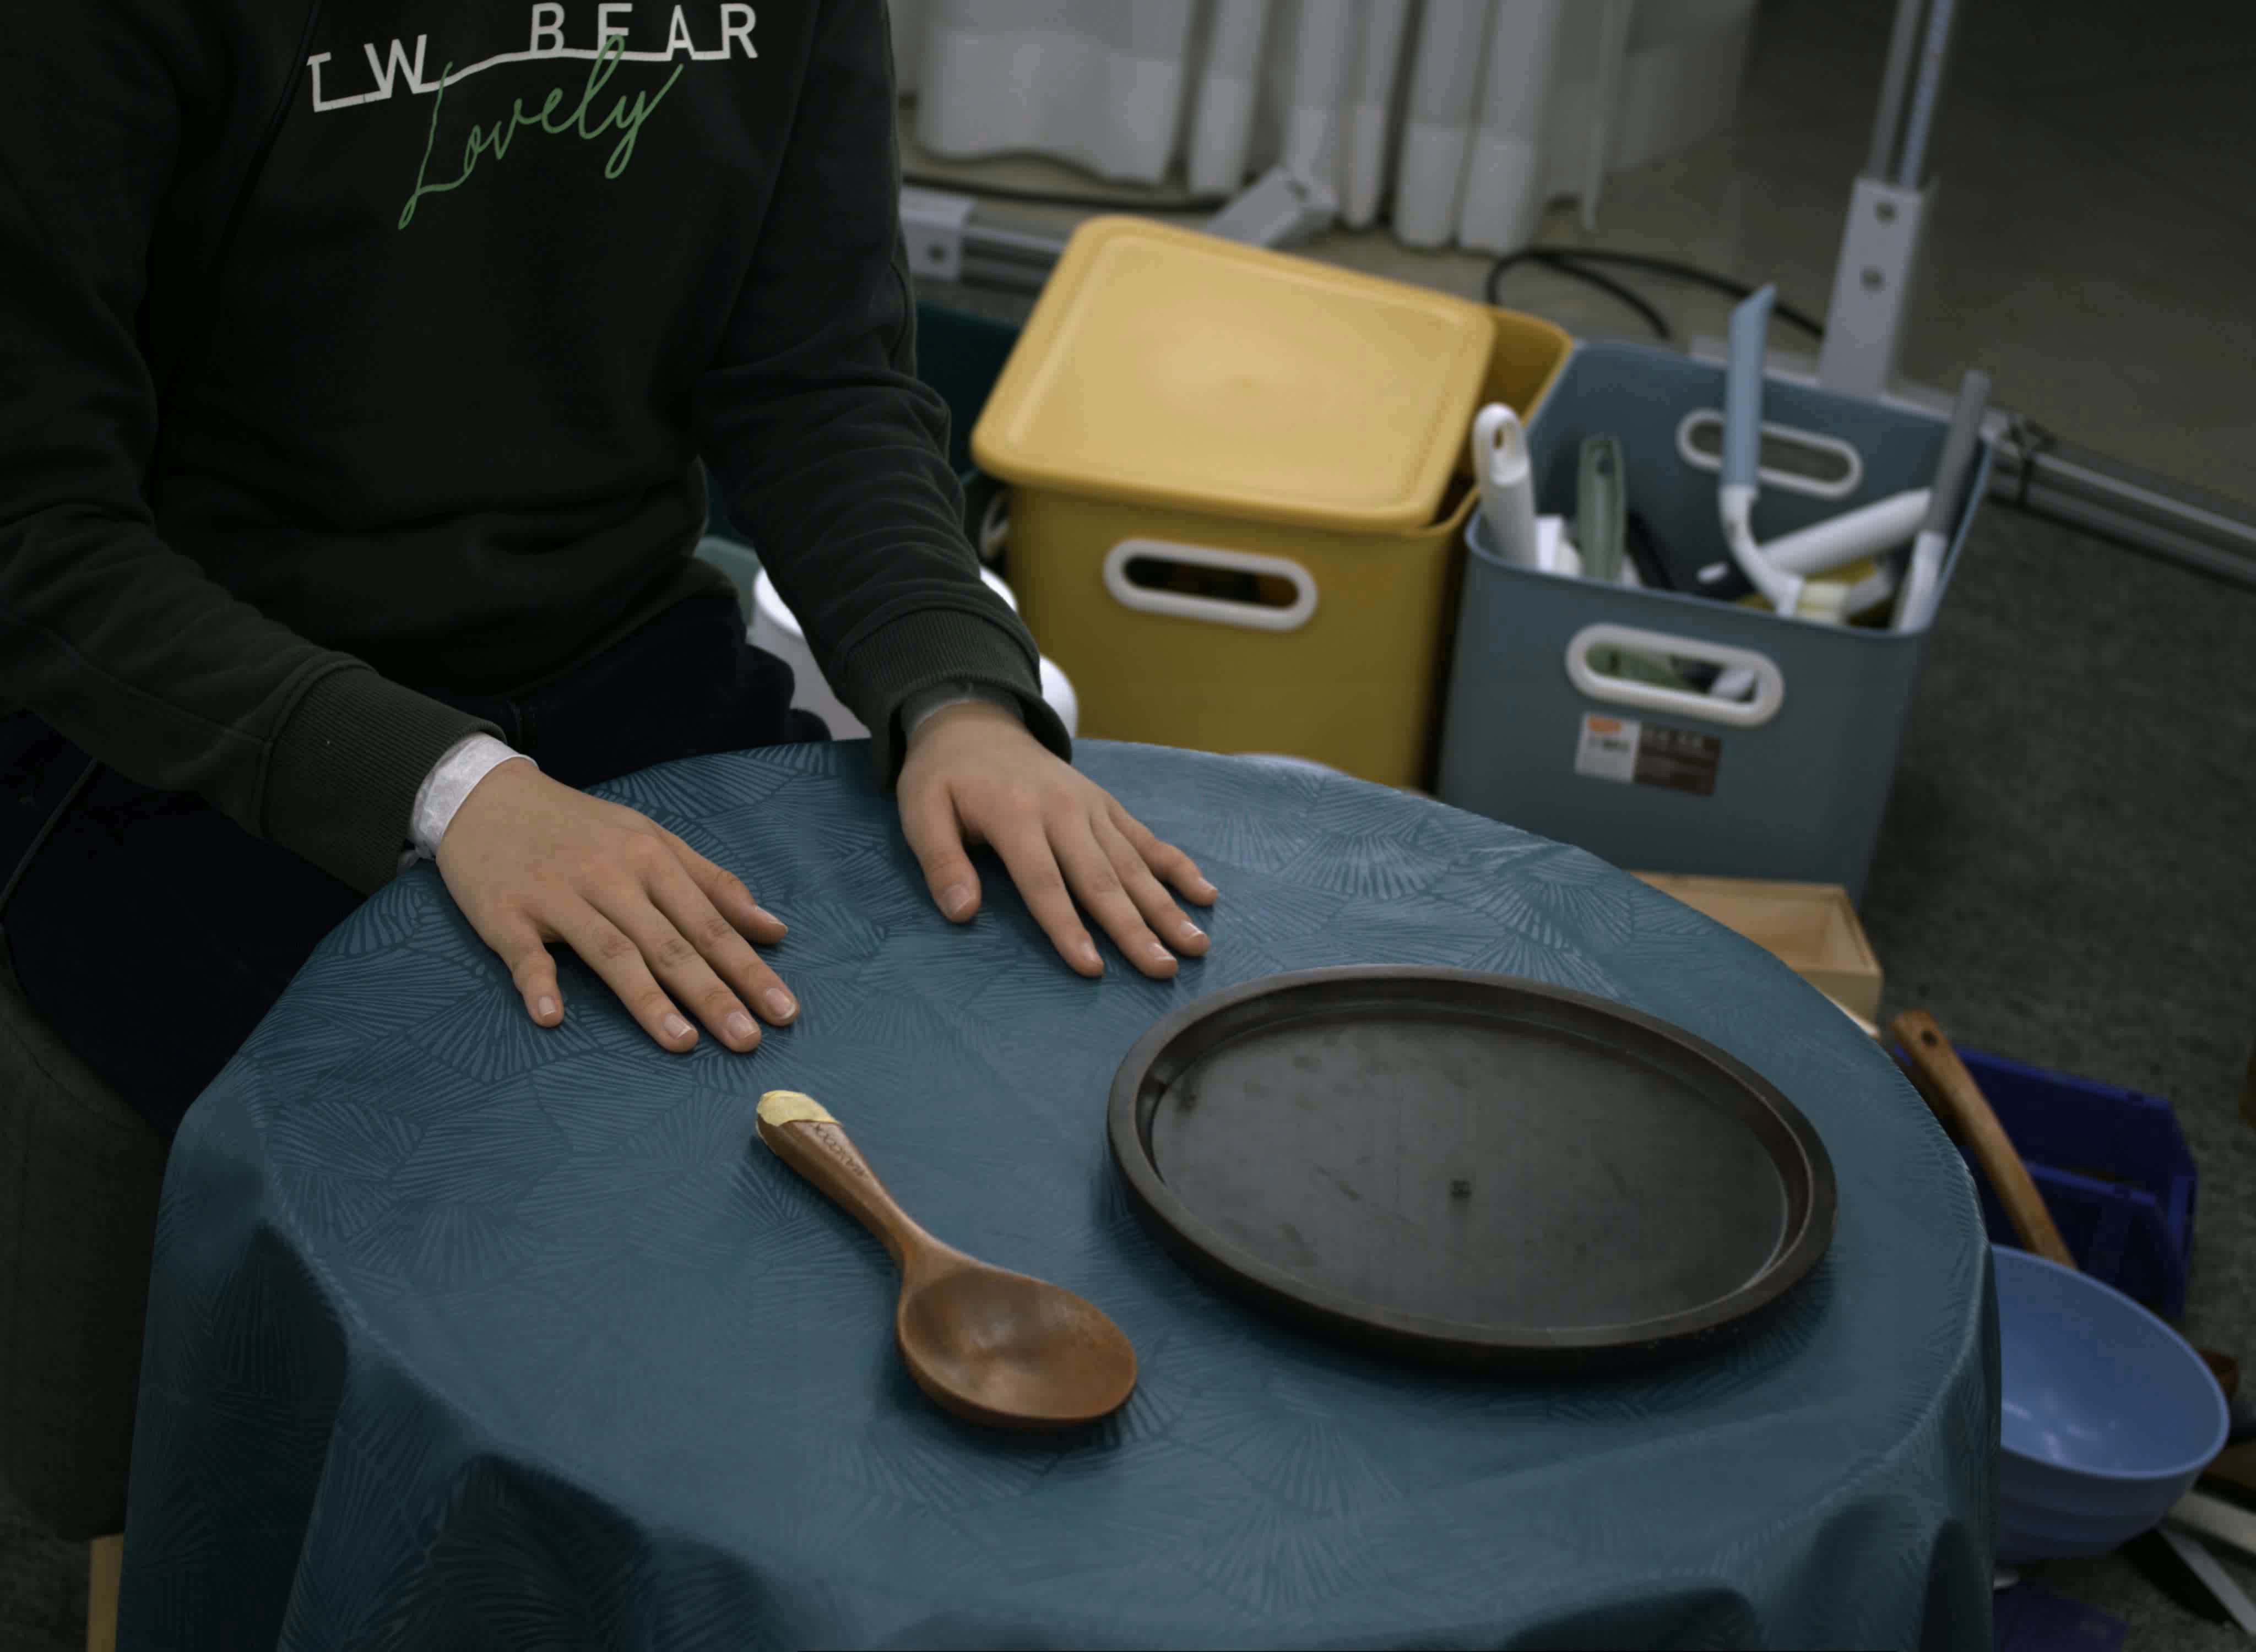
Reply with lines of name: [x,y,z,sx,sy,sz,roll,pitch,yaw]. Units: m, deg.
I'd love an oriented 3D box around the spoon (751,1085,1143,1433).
spoon: [-0.067,0.141,1.731,0.075,0.017,0.218,-10,31,-29]

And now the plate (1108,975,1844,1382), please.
plate: [0.117,0.118,1.814,0.254,0.029,0.256,6,27,-3]
